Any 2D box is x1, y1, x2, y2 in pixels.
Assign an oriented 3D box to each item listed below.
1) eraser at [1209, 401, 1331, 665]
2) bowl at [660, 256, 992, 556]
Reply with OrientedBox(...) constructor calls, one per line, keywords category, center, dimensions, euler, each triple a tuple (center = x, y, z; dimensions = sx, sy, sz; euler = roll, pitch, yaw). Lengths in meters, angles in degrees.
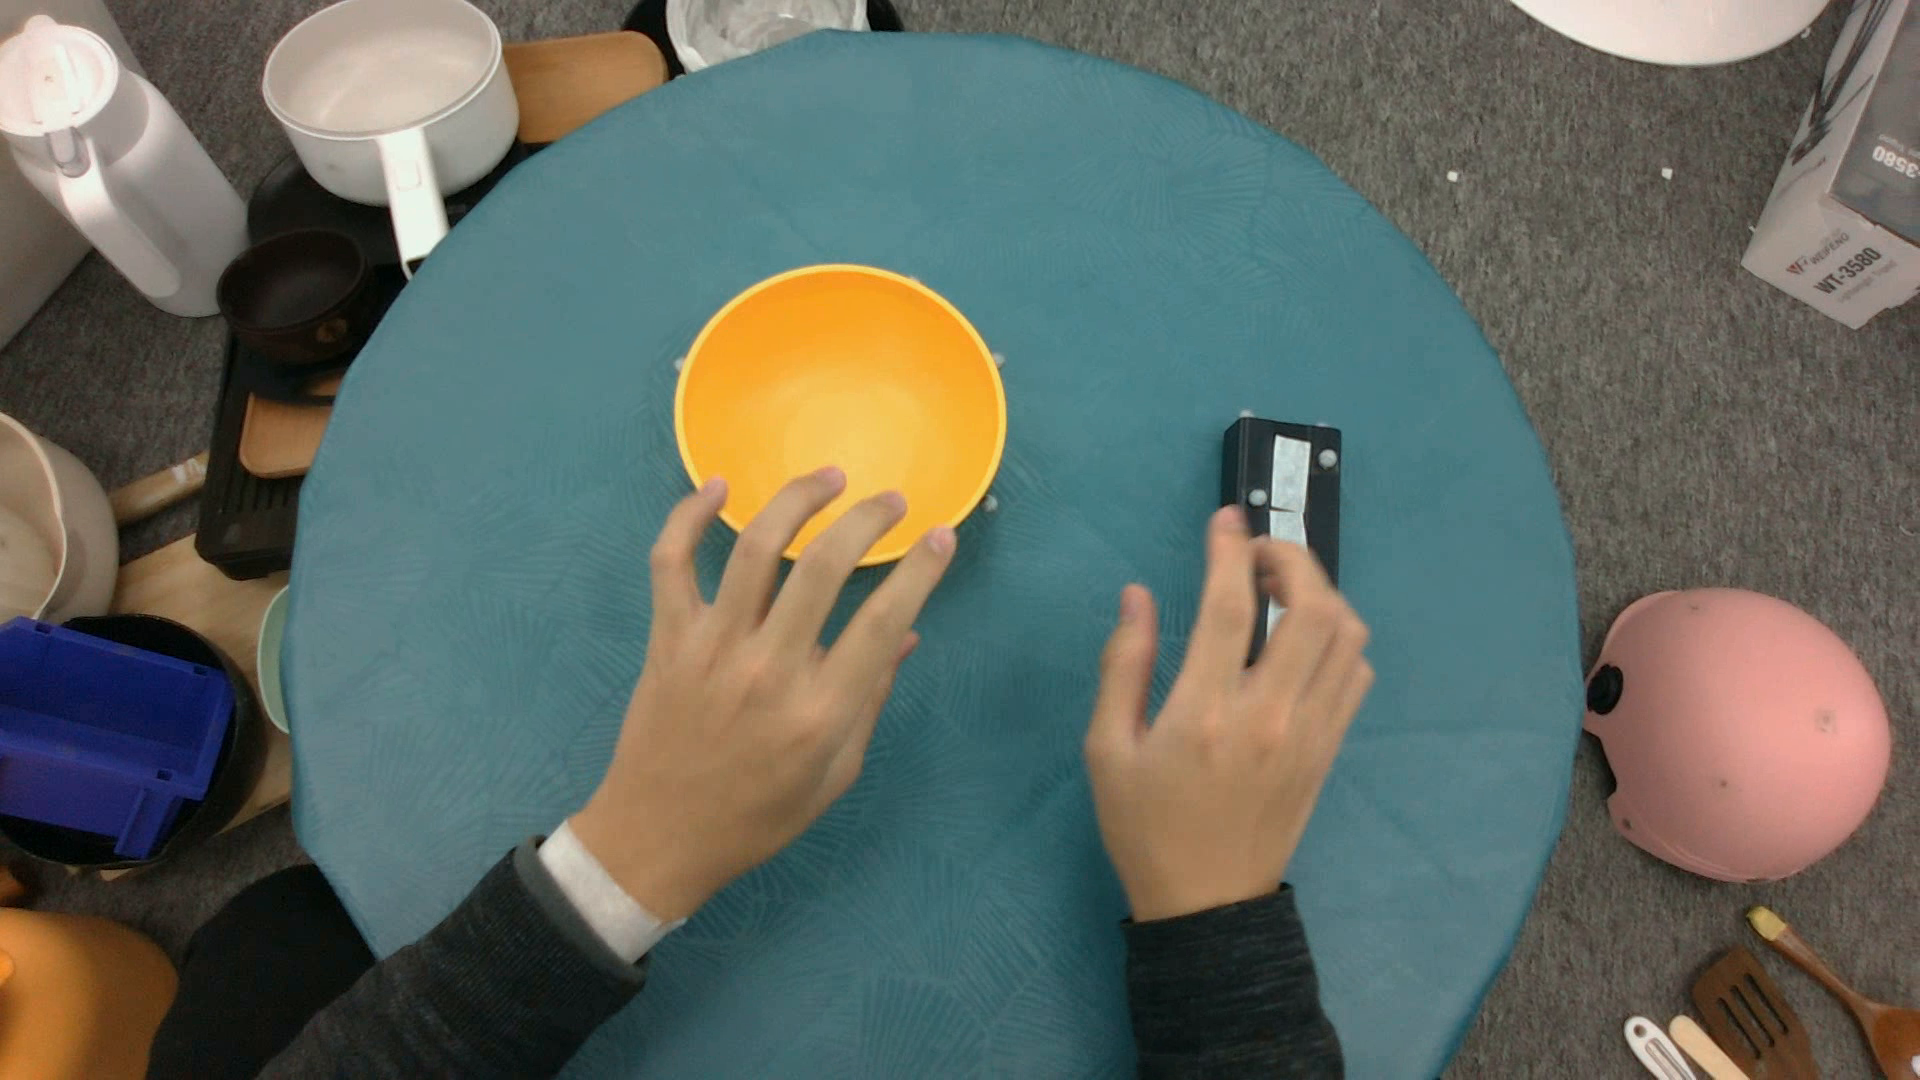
OrientedBox(category="eraser", center=(0.145, -0.004, 0.648), dimensions=(0.053, 0.030, 0.126), euler=(5, 71, -1))
OrientedBox(category="bowl", center=(-0.059, -0.052, 0.627), dimensions=(0.145, 0.060, 0.146), euler=(1, 70, -3))
